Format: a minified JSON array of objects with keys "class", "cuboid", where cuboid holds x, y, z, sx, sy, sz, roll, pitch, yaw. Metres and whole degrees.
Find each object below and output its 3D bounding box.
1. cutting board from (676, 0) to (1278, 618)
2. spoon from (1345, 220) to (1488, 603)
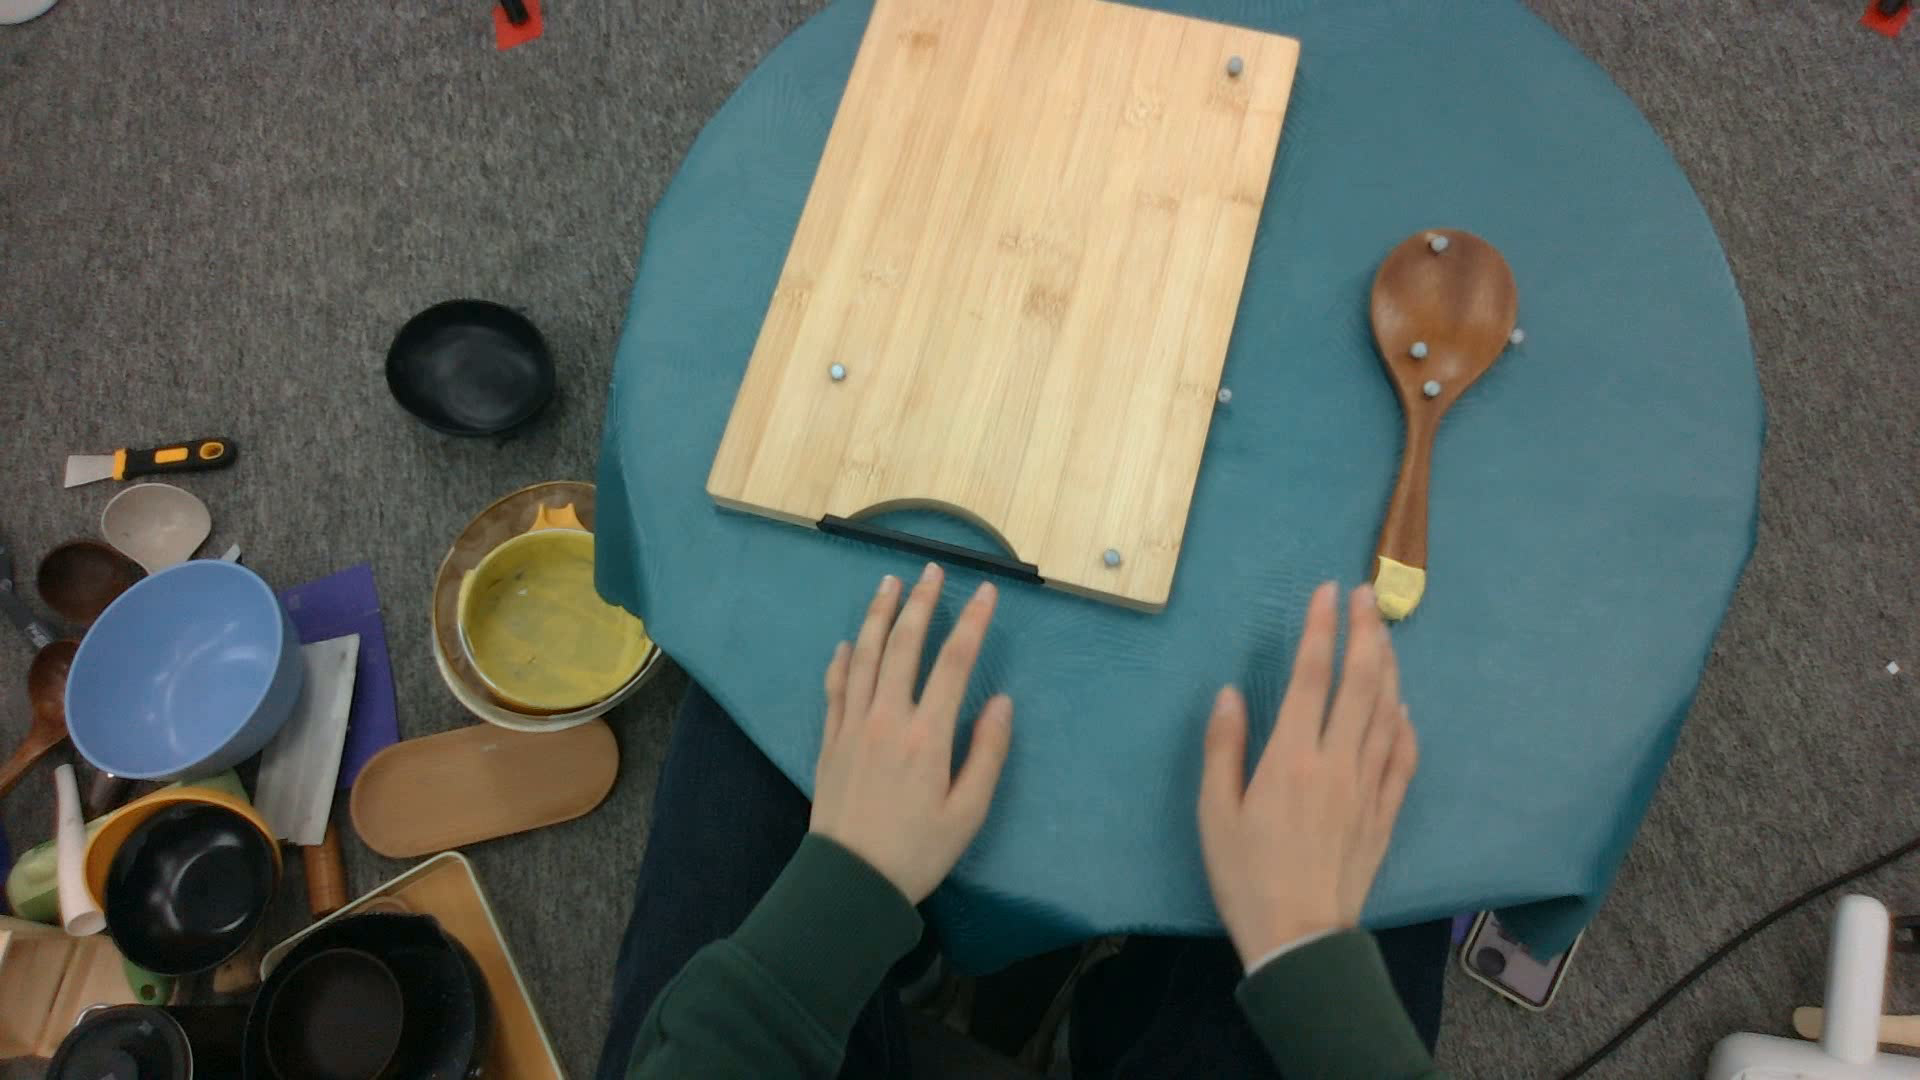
[{"class":"cutting board","cuboid":[0.018,-0.148,0.741,0.250,0.023,0.349,13,72,6]},{"class":"spoon","cuboid":[0.226,-0.069,0.708,0.075,0.017,0.216,12,71,4]}]
